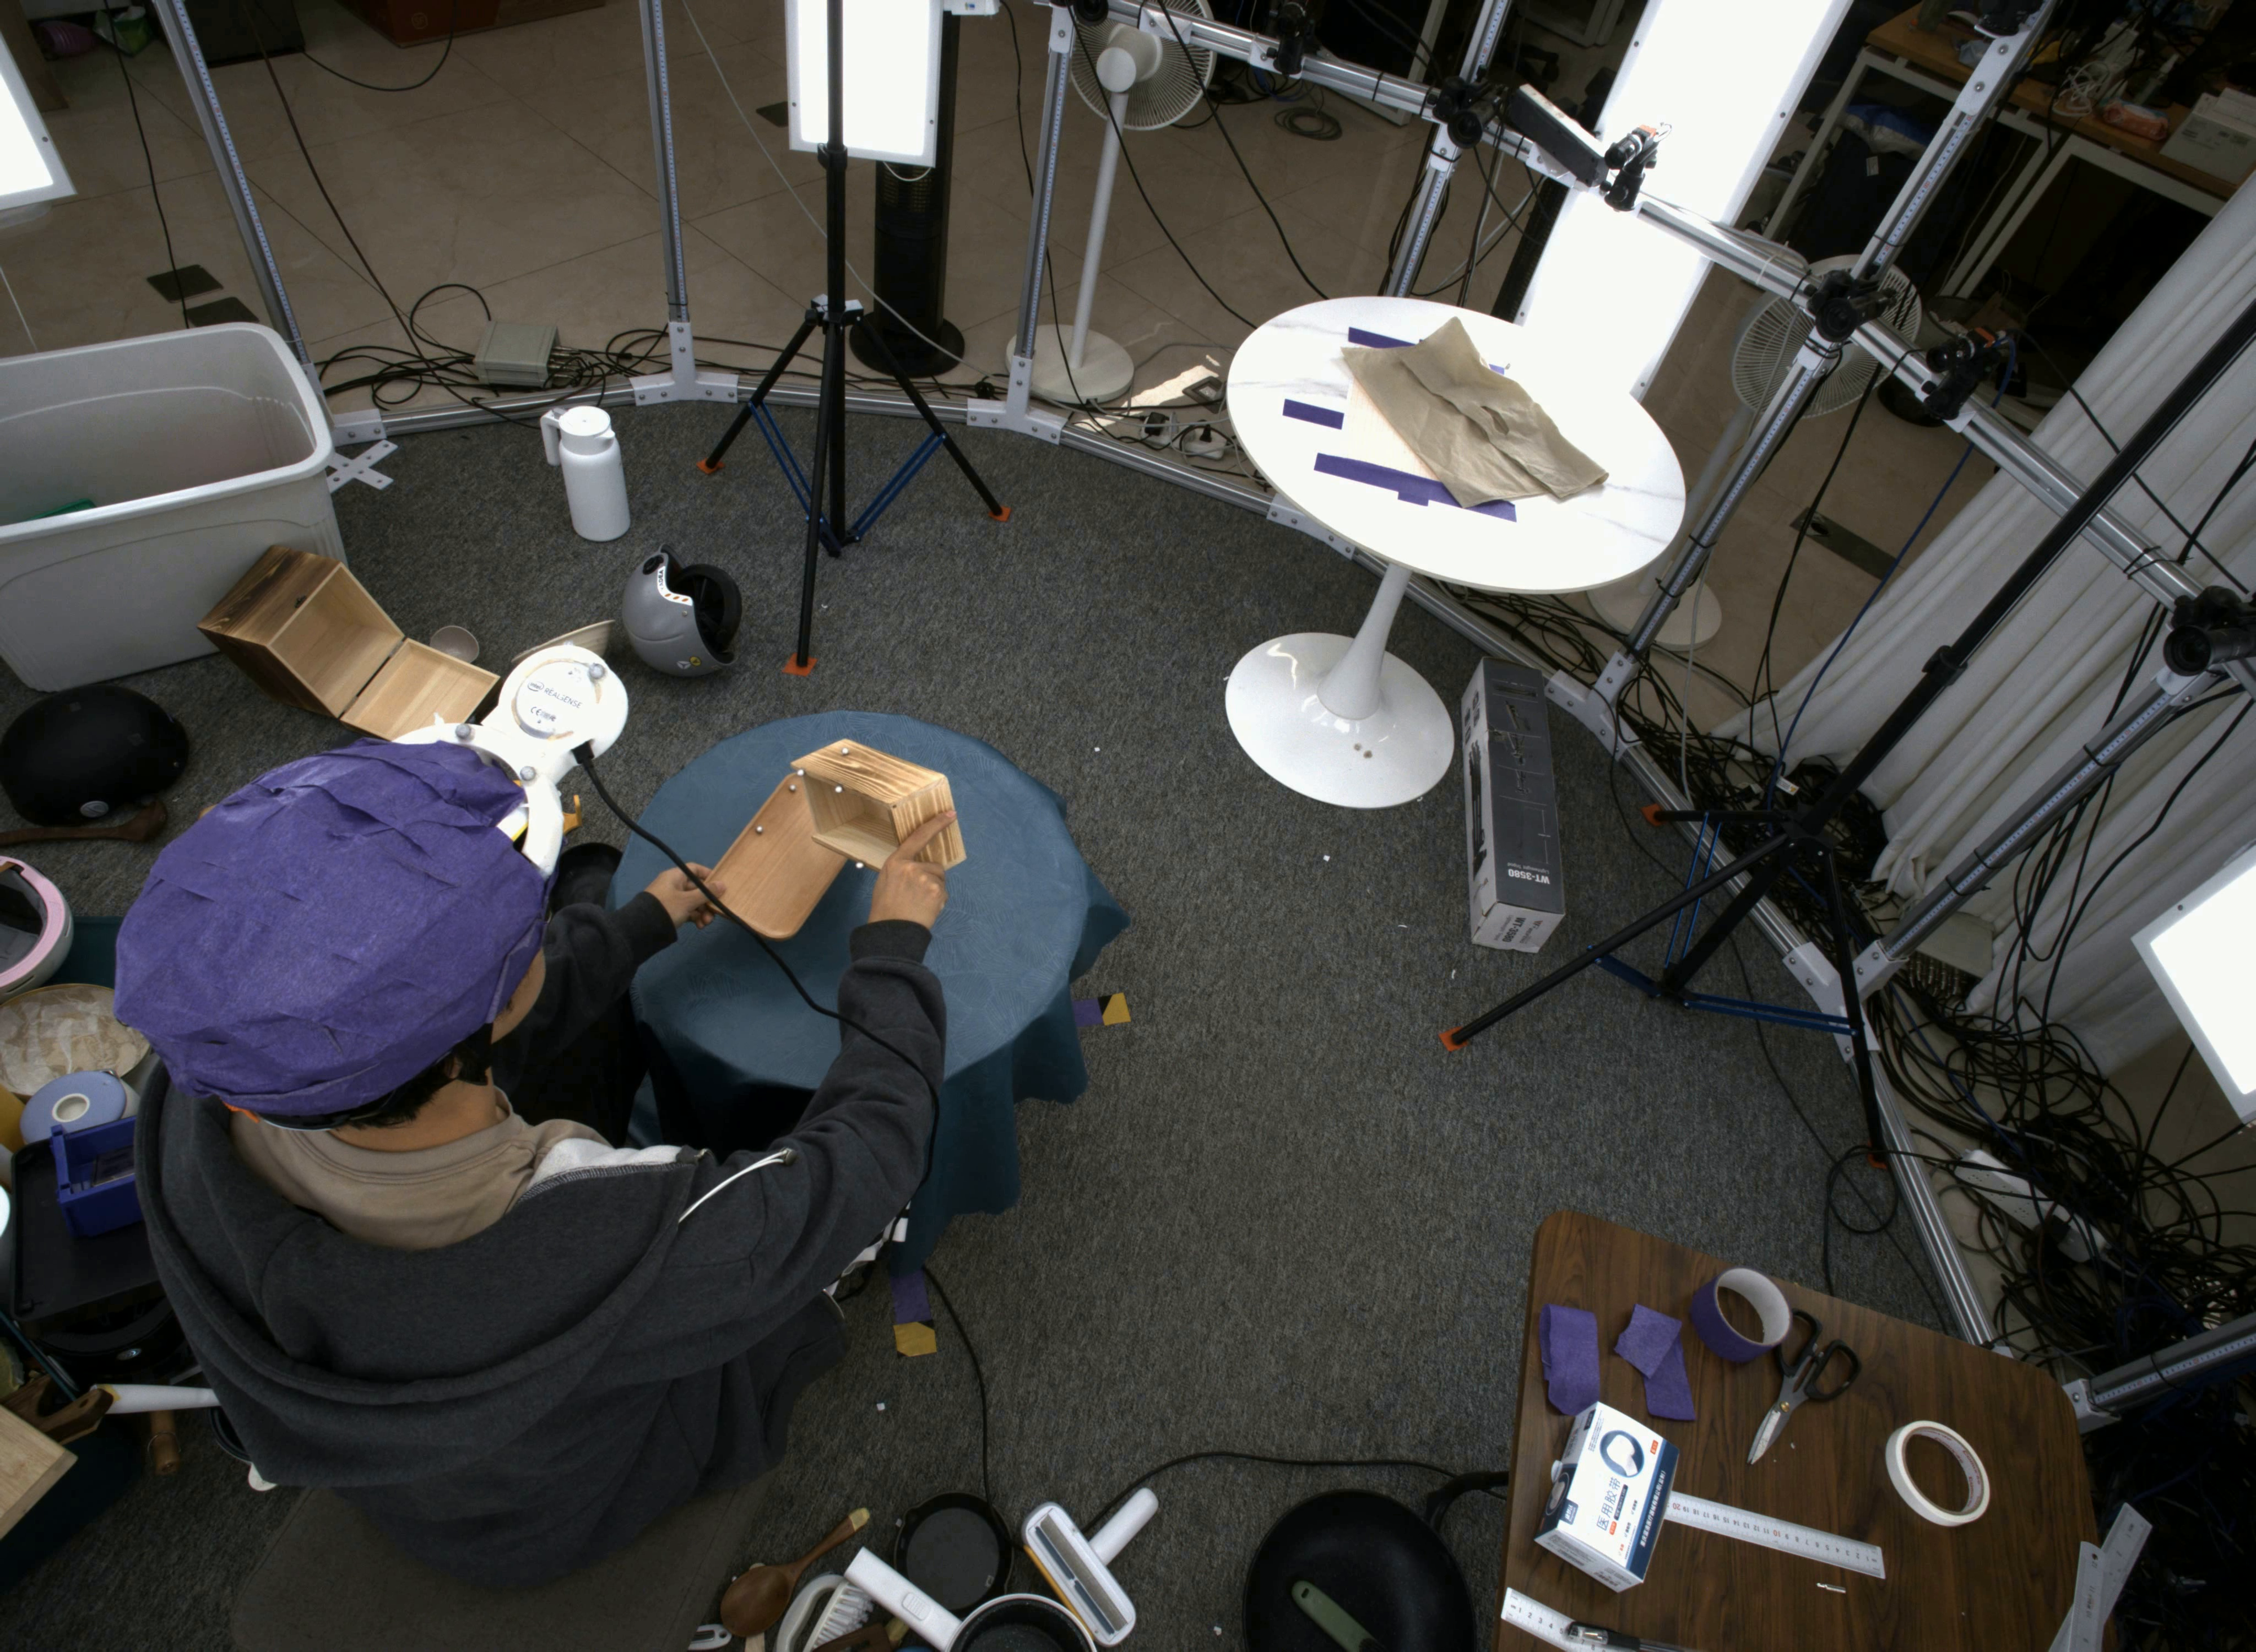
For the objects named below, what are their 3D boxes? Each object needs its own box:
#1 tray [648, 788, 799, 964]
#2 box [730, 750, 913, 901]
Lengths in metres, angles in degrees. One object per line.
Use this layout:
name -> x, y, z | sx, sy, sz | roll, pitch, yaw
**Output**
tray -> -0.475, 0.056, 1.571 | 0.130, 0.023, 0.248 | 24, 47, -3
box -> -0.346, -0.005, 1.461 | 0.203, 0.111, 0.080 | 16, 38, 41
